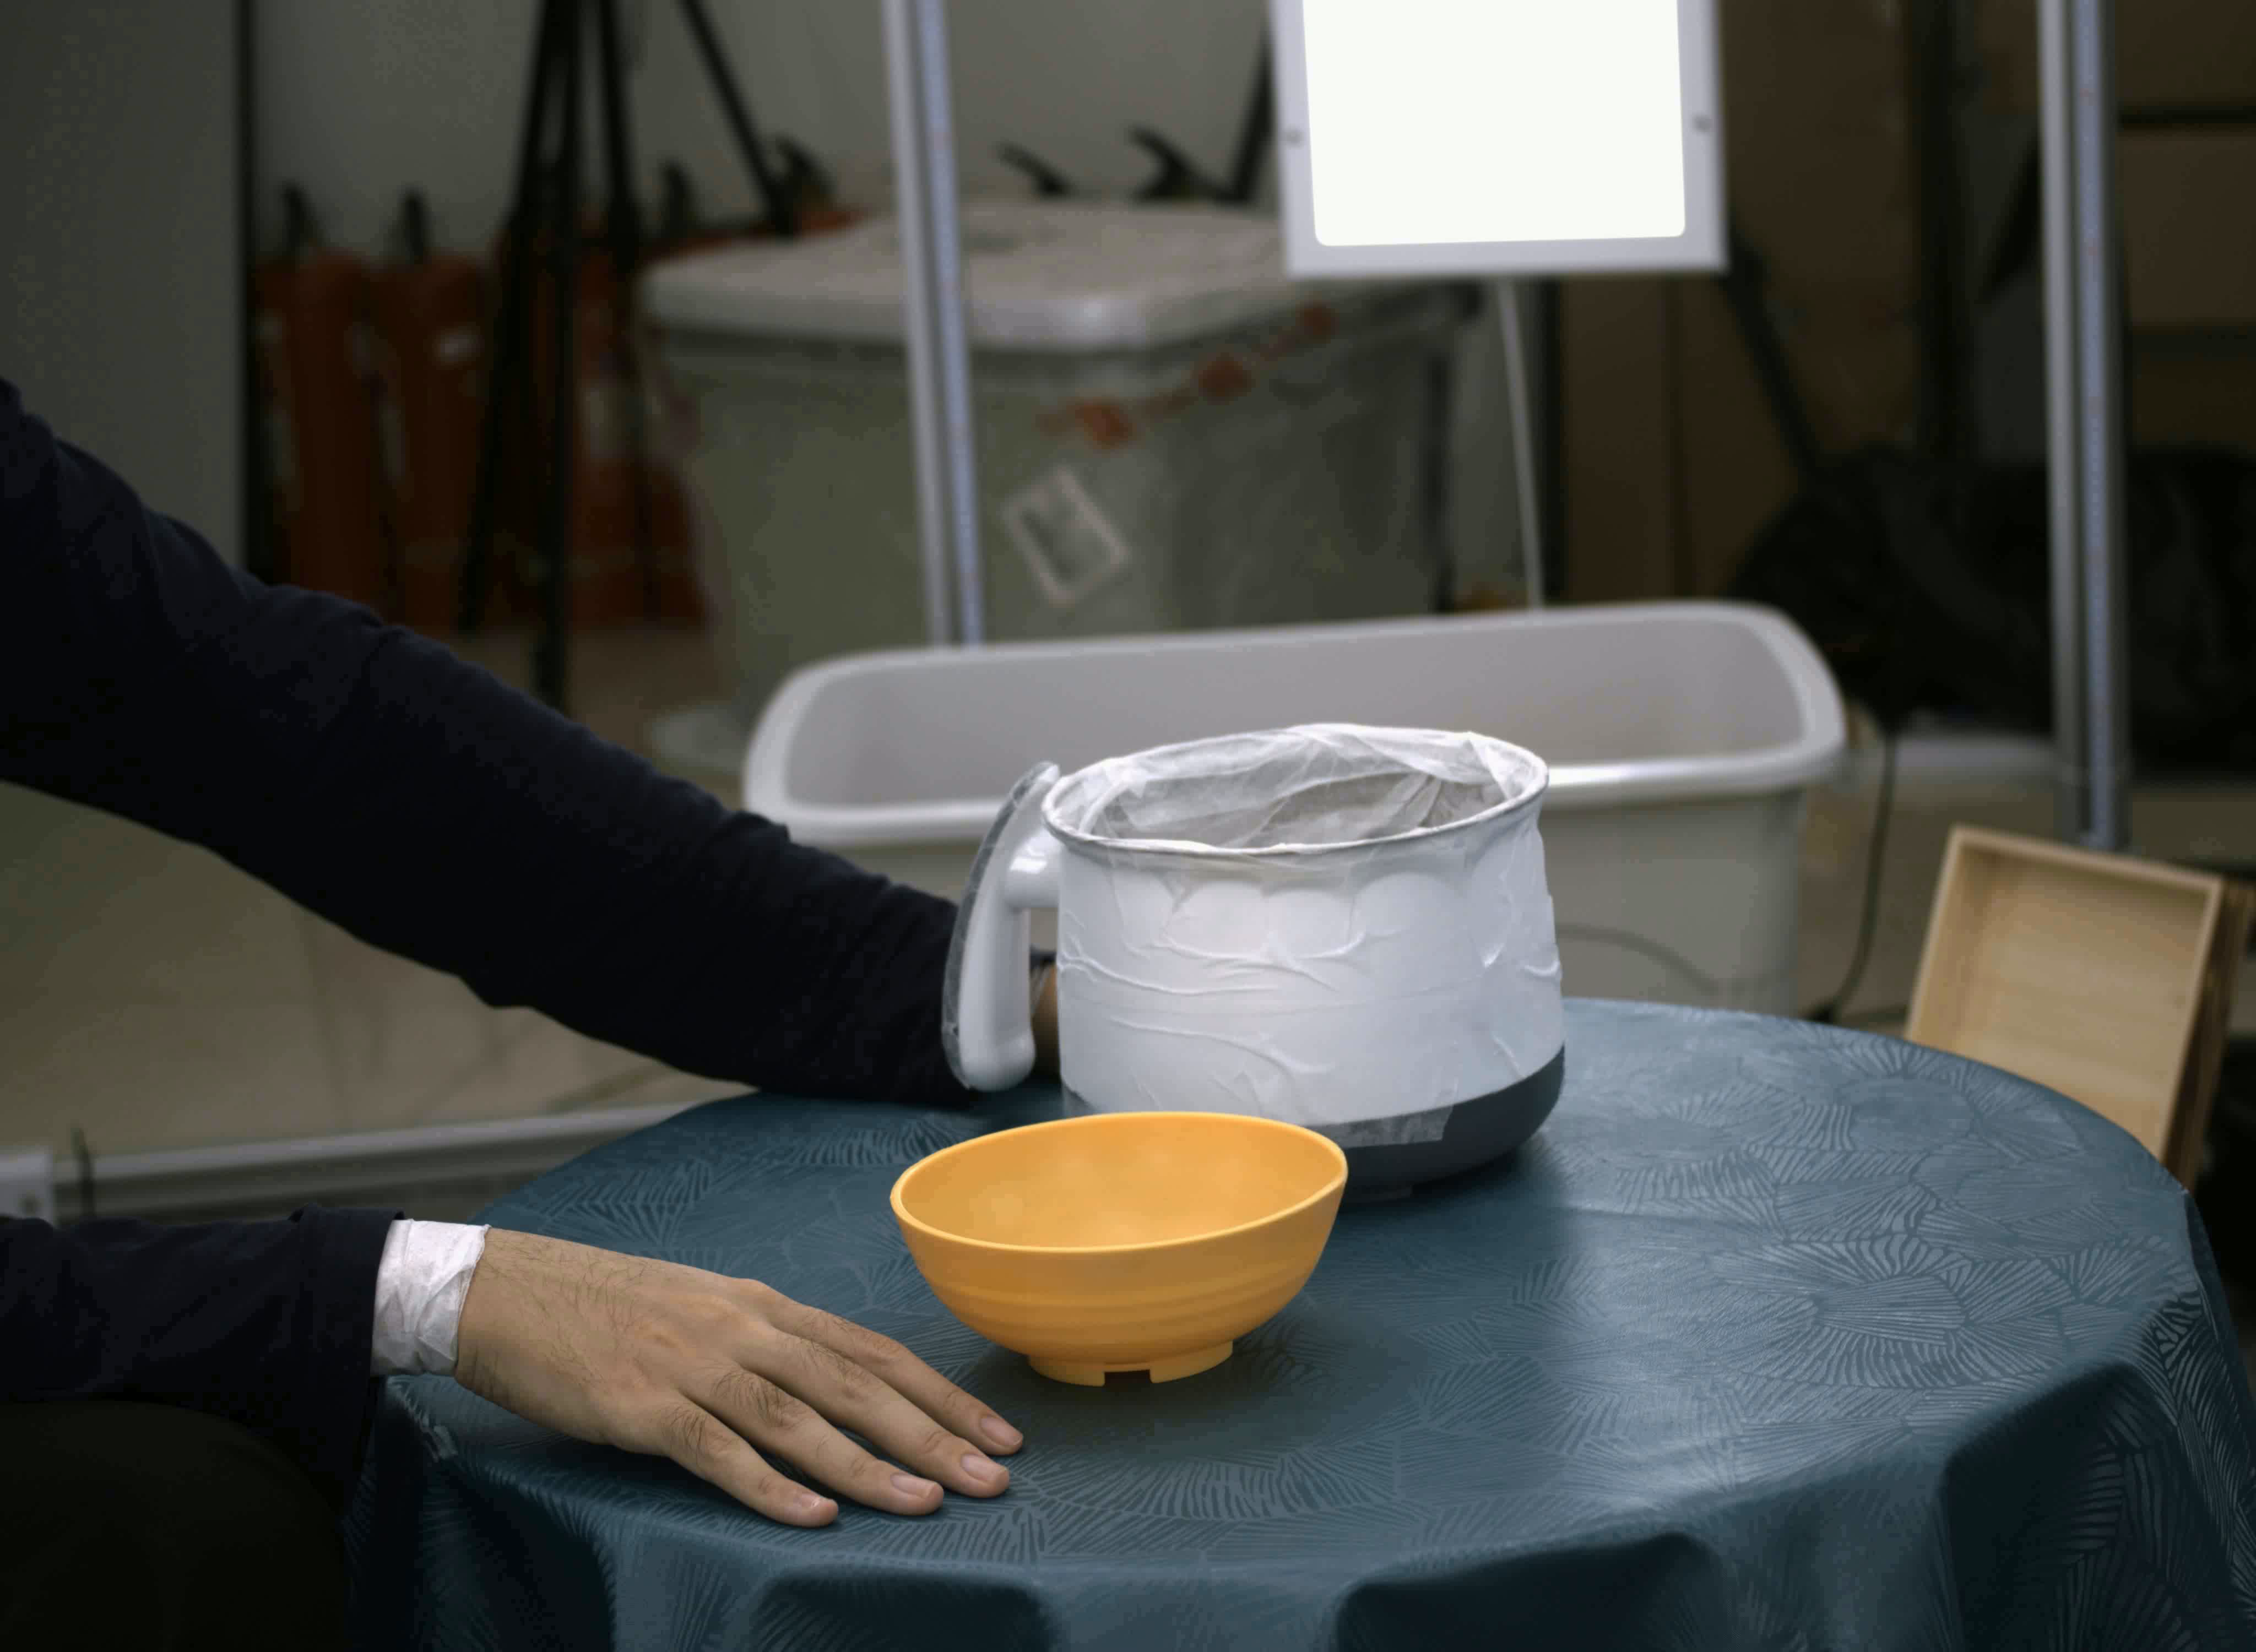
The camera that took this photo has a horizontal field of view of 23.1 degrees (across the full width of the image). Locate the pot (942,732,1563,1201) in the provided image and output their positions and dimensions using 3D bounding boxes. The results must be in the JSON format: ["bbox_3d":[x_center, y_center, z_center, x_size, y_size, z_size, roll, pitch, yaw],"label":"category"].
[{"bbox_3d":[0.038,0.046,1.929,0.238,0.137,0.175,3,13,28],"label":"pot"}]

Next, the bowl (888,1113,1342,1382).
[{"bbox_3d":[-0.002,0.136,1.731,0.145,0.060,0.145,-4,13,0],"label":"bowl"}]
